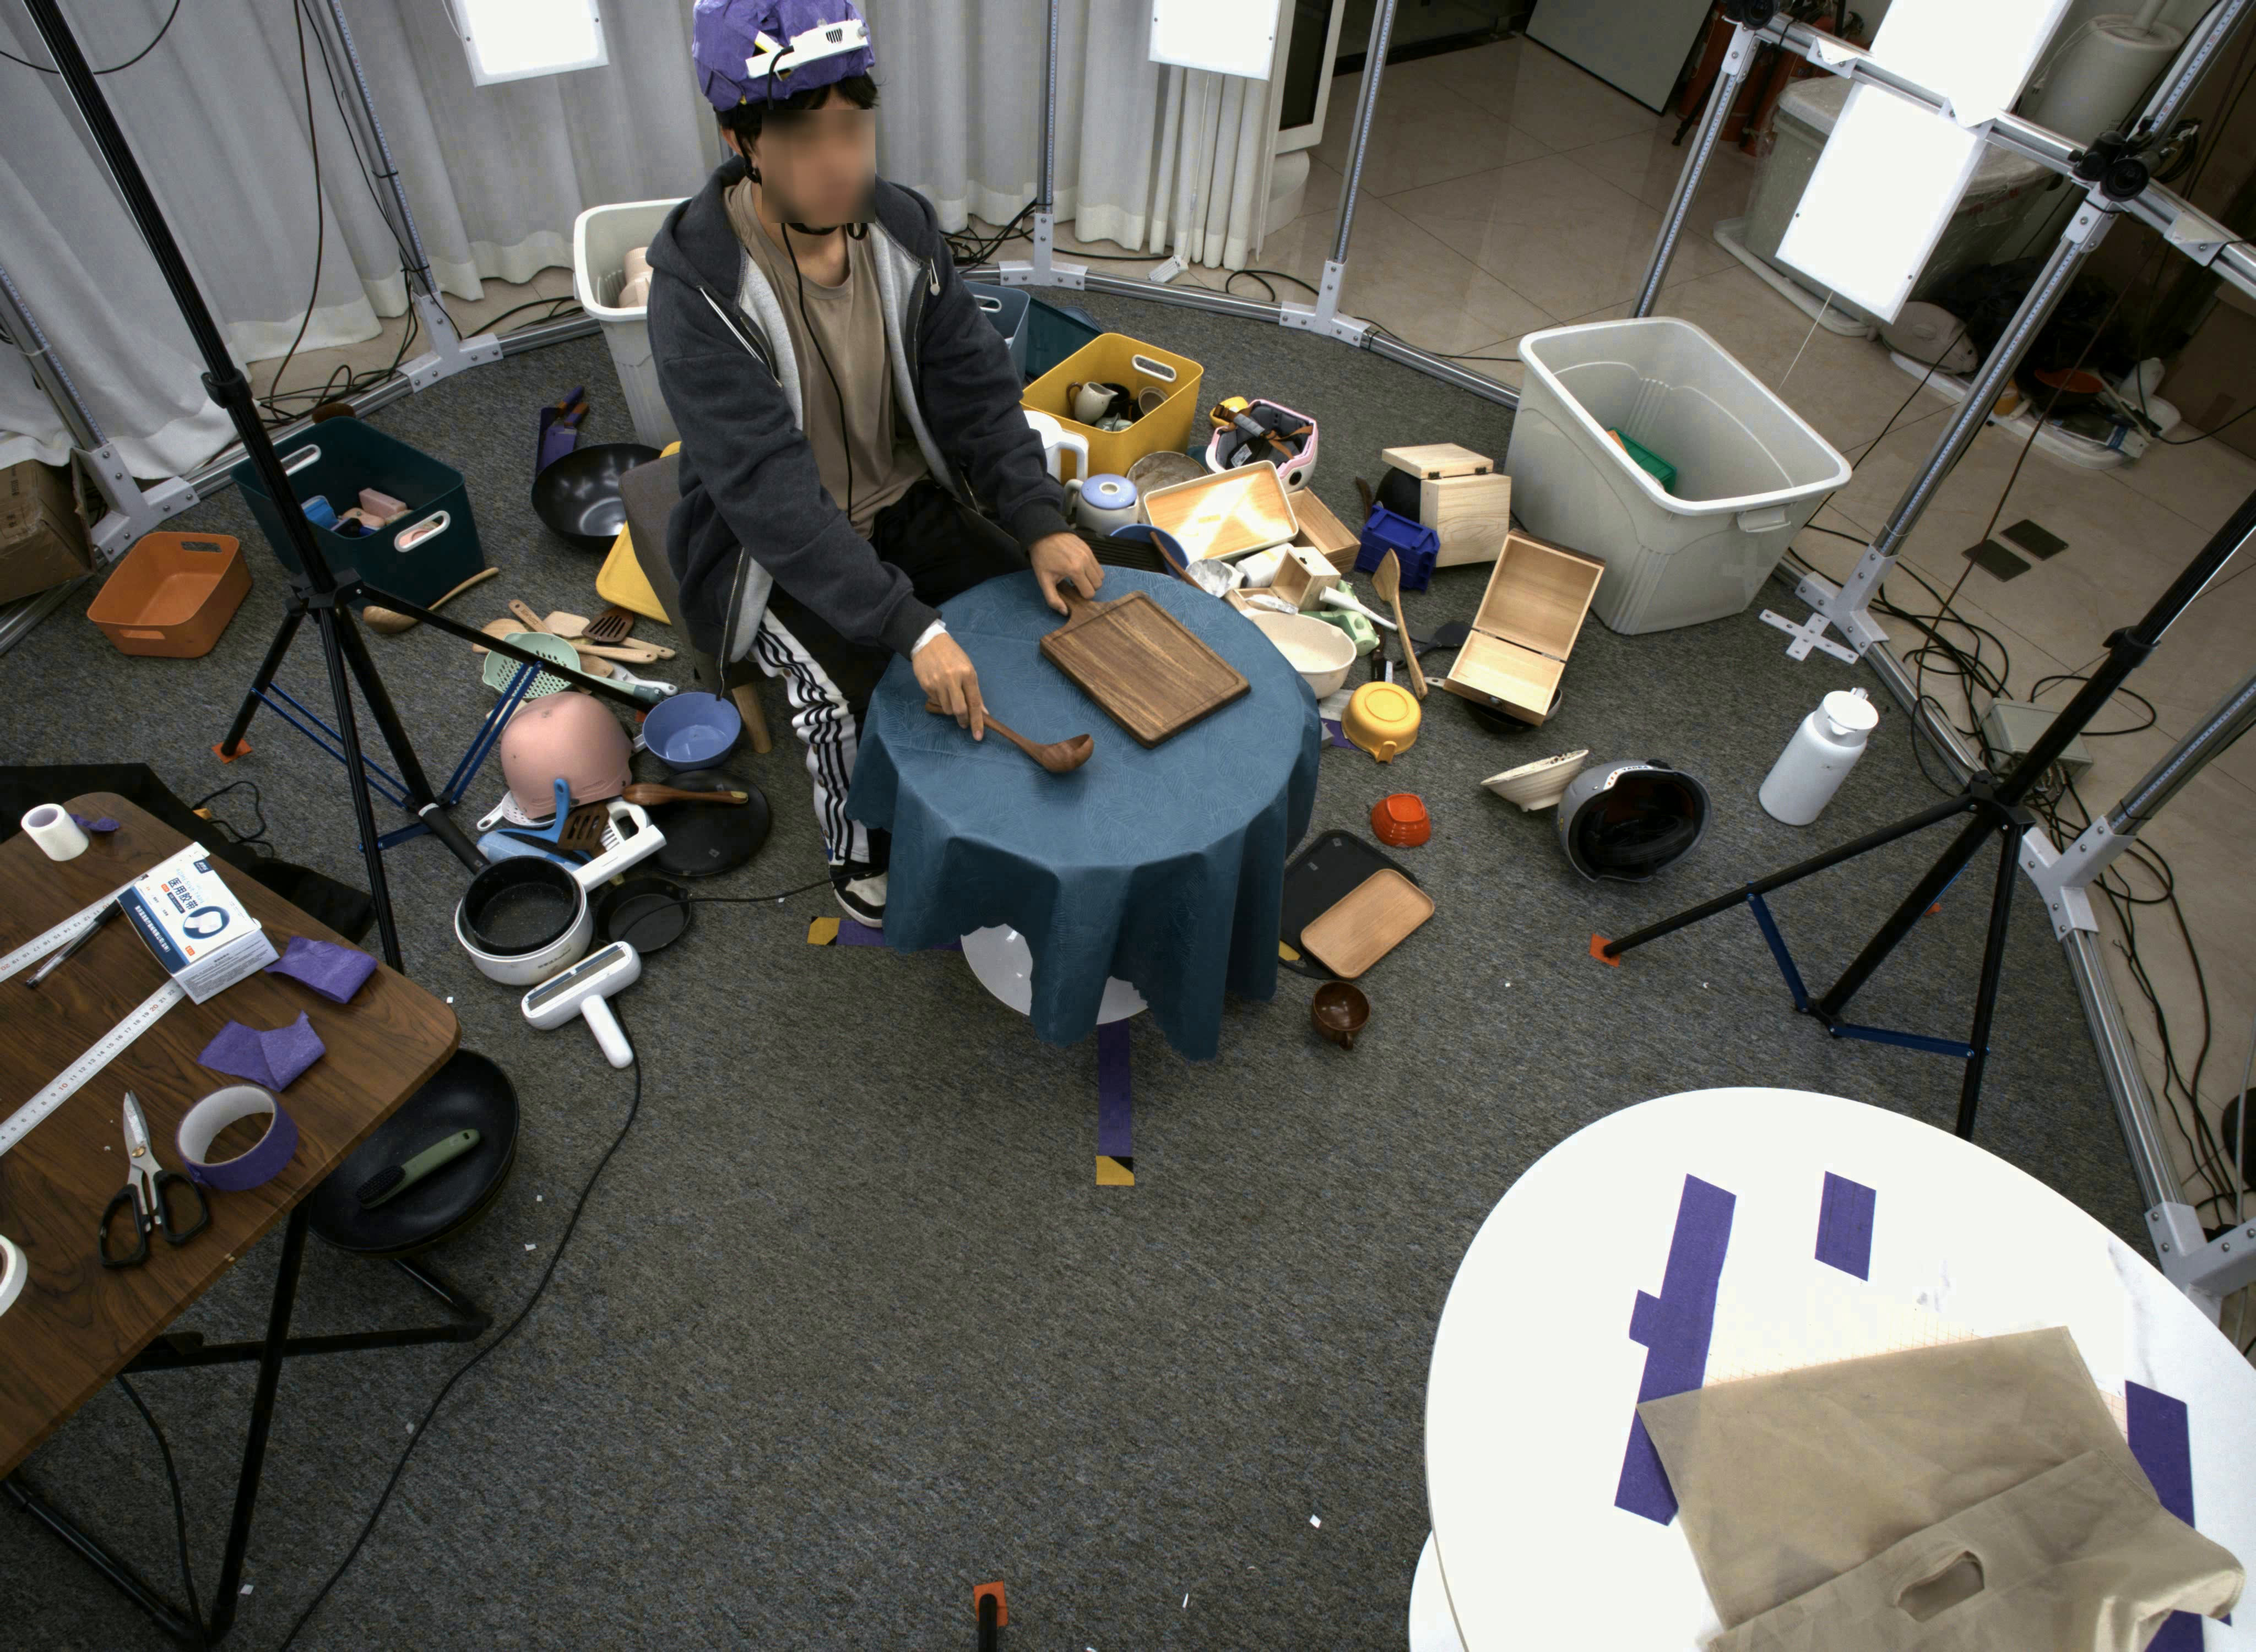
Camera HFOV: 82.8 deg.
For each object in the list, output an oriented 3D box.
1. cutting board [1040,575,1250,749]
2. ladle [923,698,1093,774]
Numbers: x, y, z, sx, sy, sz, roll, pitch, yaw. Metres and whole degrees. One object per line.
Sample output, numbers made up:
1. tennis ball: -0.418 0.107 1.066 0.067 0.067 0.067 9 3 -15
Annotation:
1. cutting board: -0.008 -0.263 1.876 0.202 0.022 0.358 -30 59 -27
2. ladle: -0.165 -0.137 1.732 0.262 0.063 0.077 26 39 18
